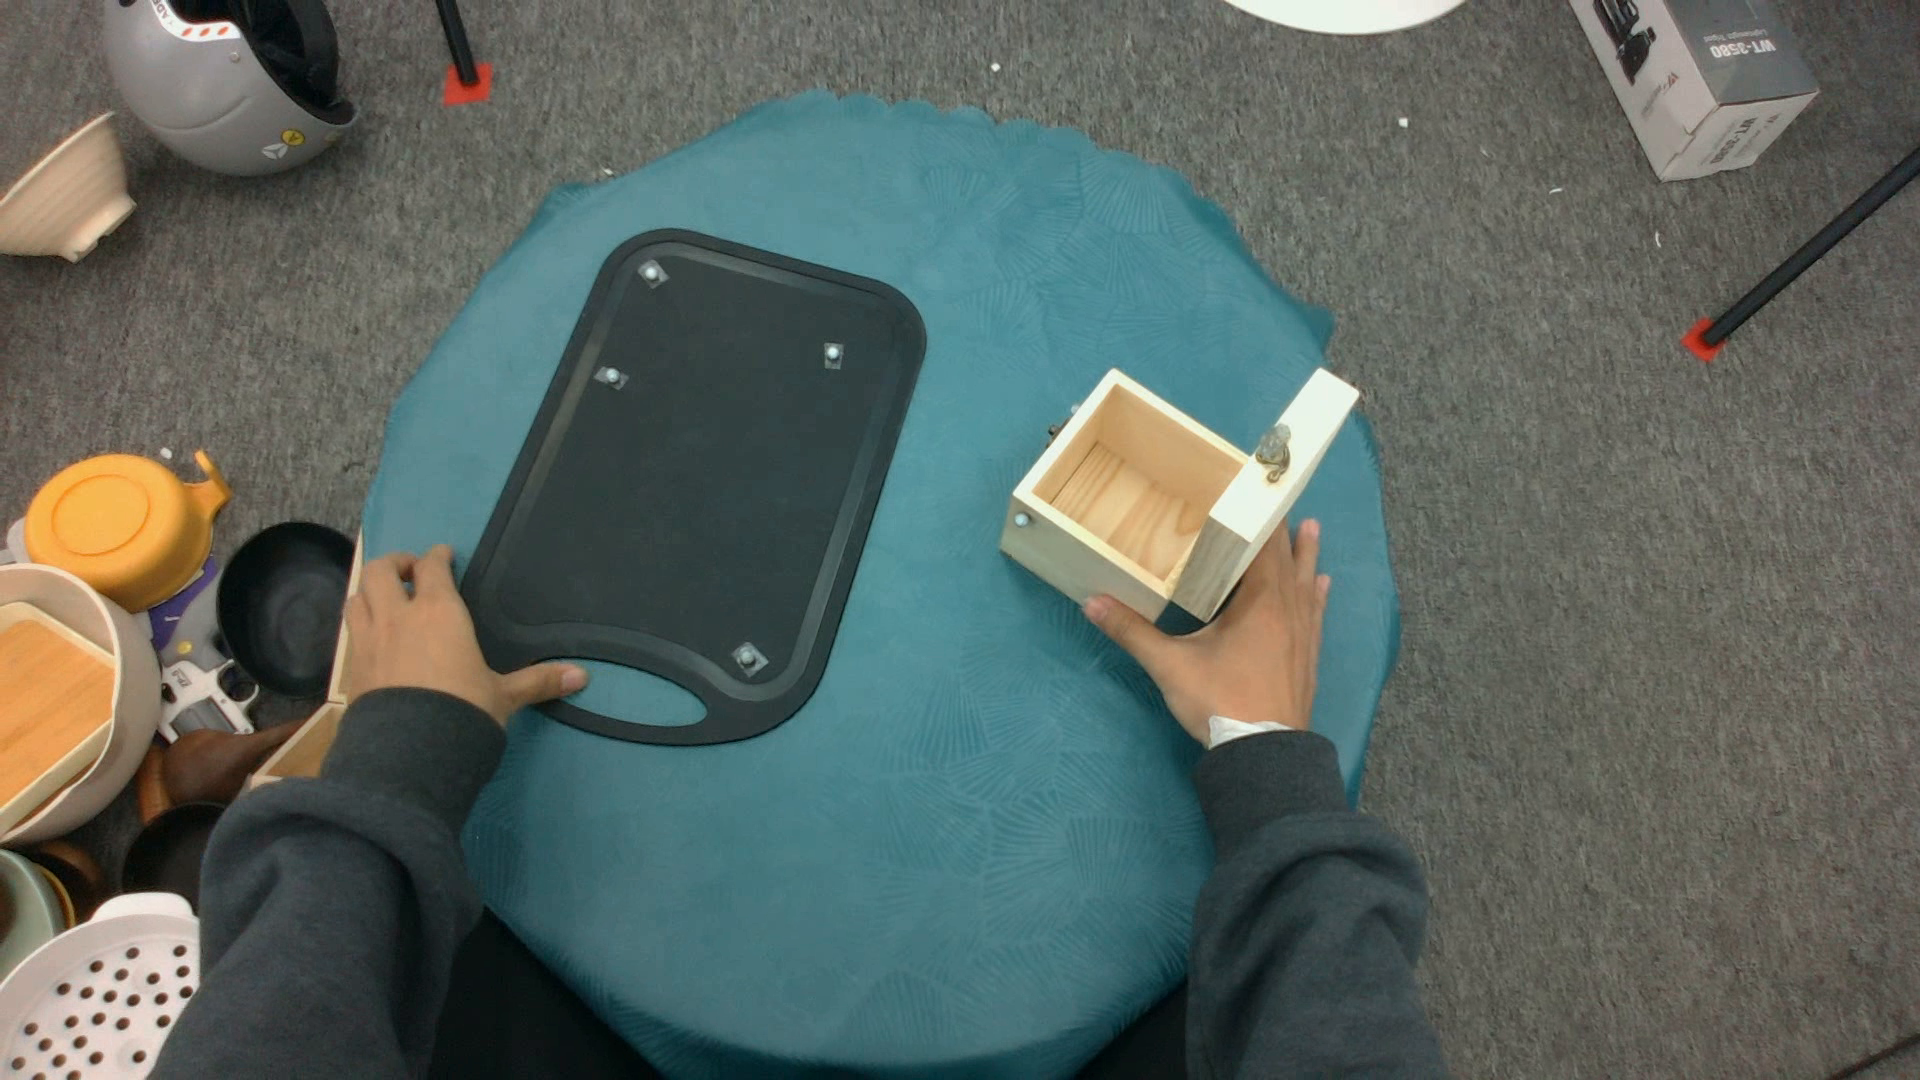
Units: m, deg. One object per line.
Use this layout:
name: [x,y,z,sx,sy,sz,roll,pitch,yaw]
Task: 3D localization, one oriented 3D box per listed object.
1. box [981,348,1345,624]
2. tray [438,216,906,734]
box: [0.097,-0.044,0.734,0.134,0.184,0.103,35,69,8]
tray: [-0.164,-0.045,0.807,0.211,0.010,0.326,15,66,2]
